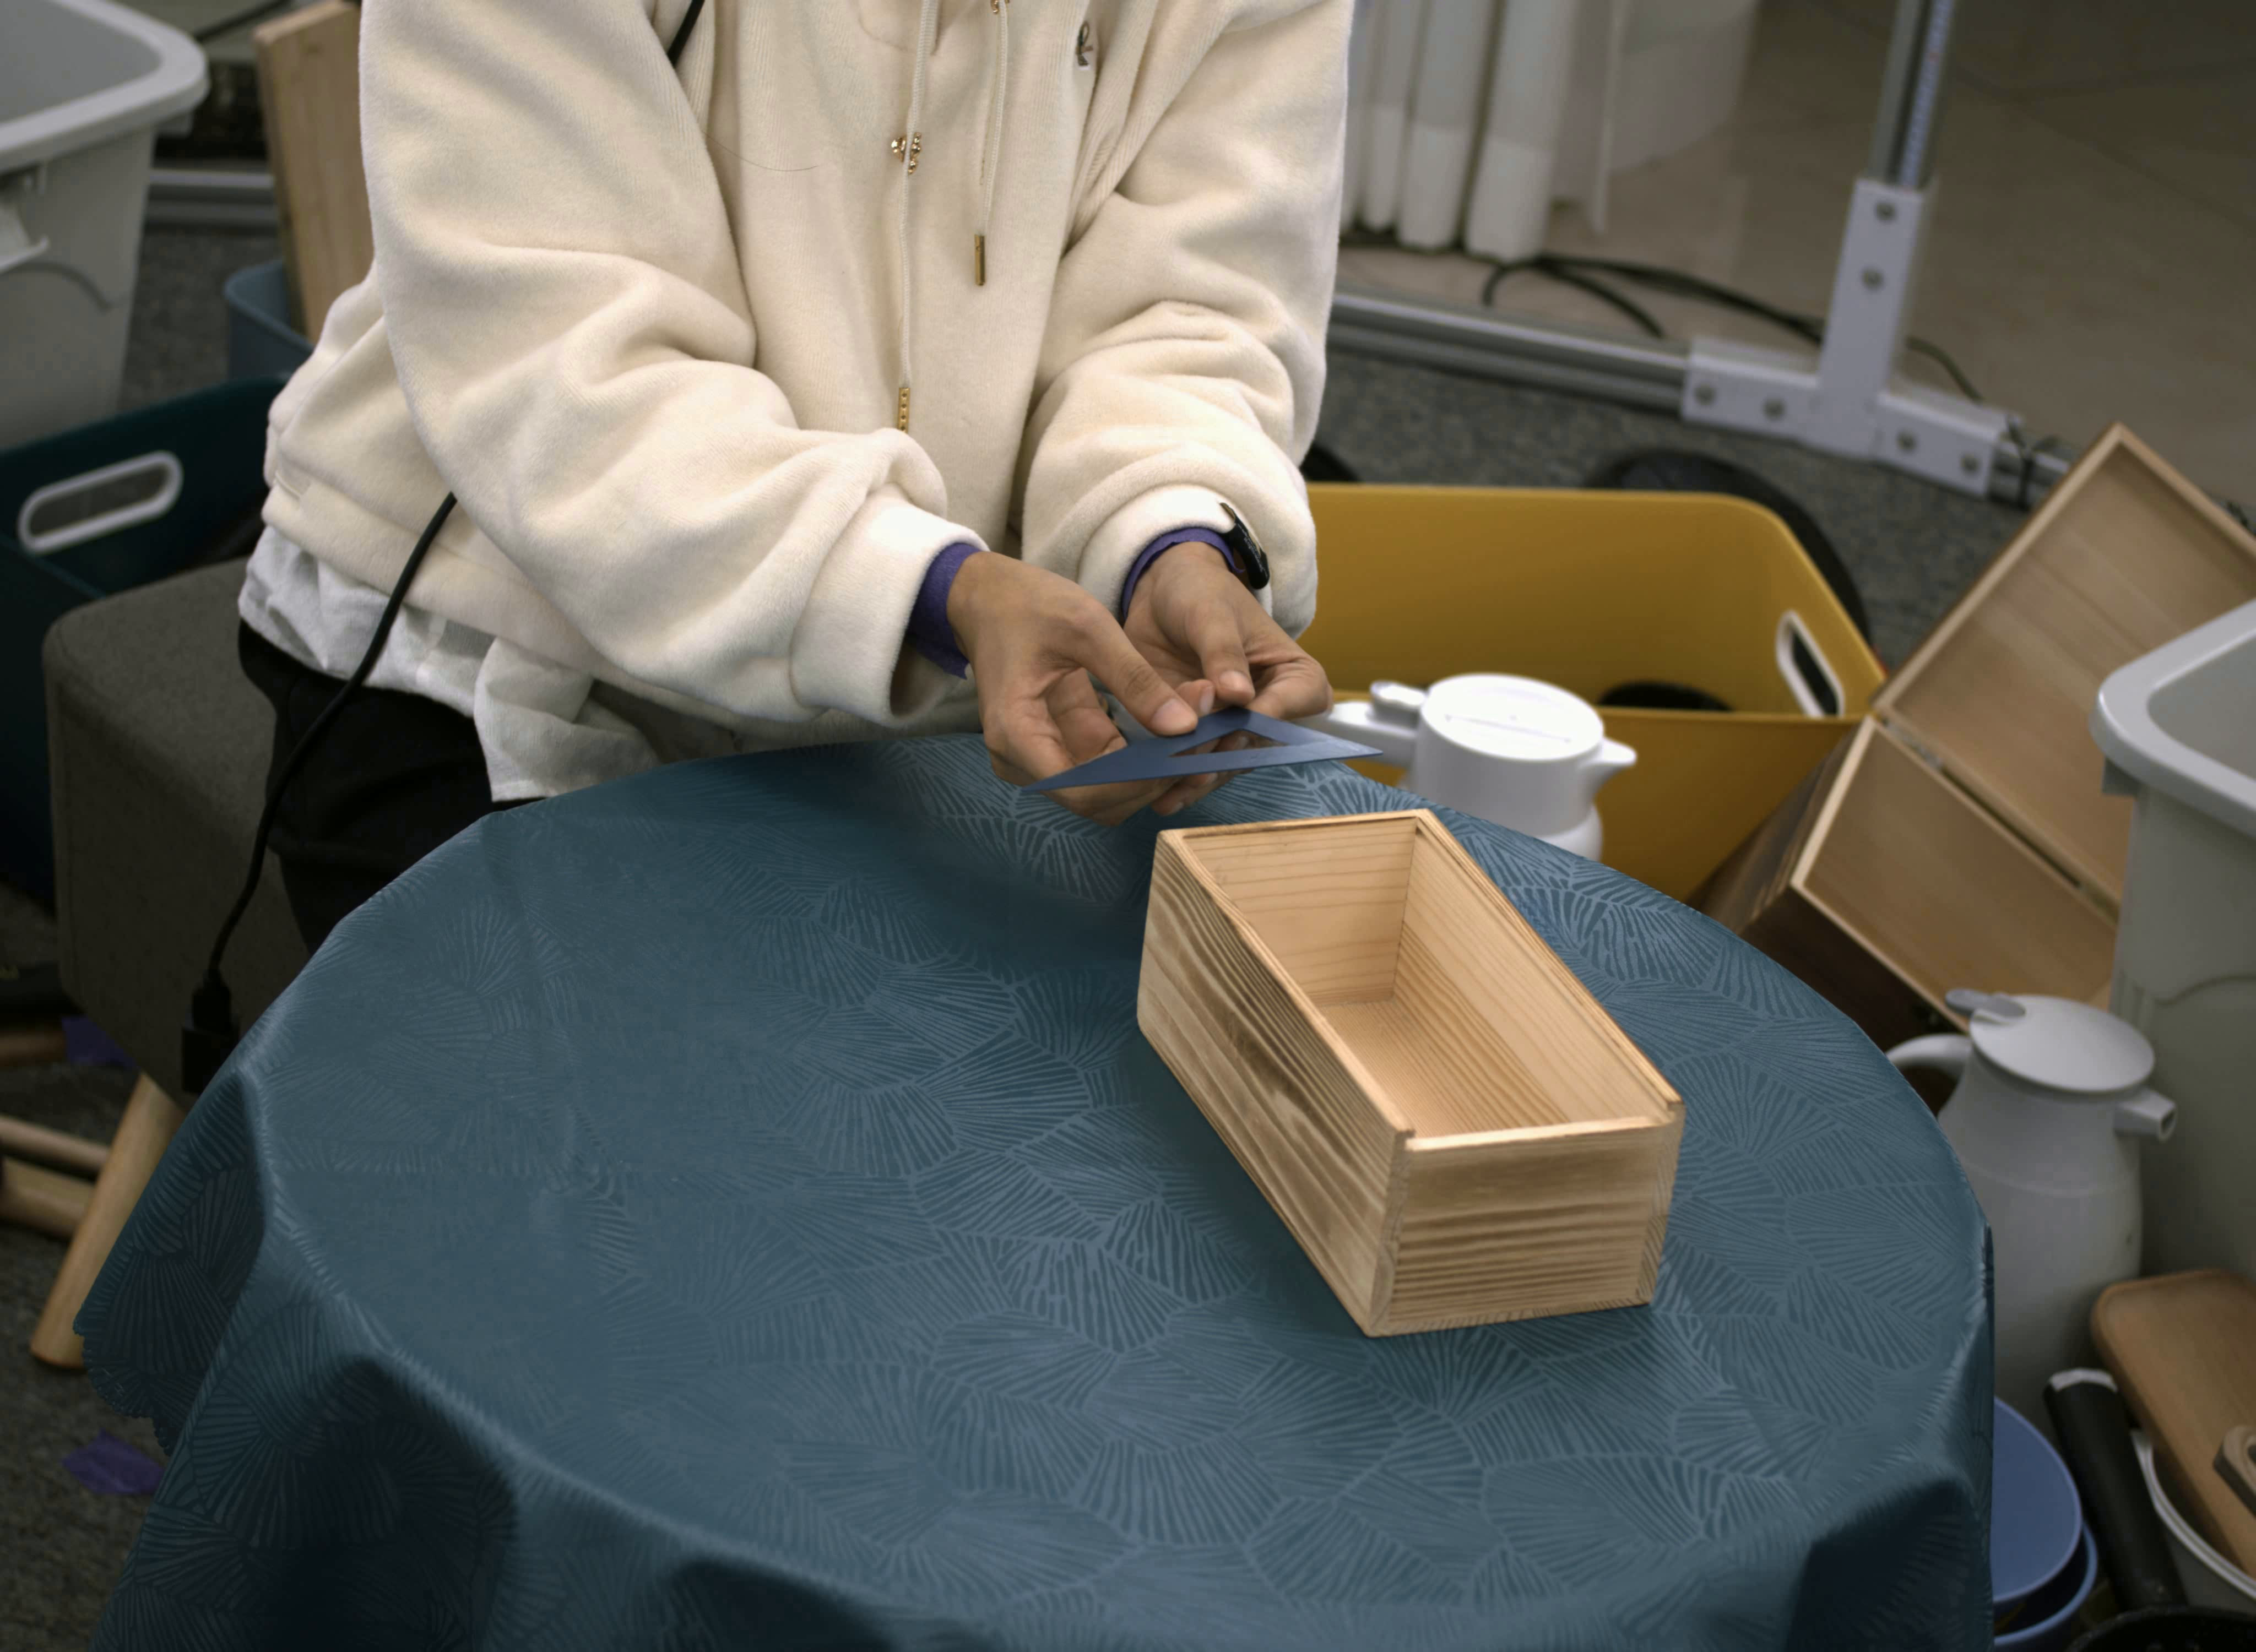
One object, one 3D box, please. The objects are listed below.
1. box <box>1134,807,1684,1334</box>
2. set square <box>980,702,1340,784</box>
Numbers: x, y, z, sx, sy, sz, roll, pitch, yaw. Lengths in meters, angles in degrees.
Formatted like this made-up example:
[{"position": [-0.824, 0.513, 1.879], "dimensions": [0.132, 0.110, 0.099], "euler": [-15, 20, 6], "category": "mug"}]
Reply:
[{"position": [0.092, 0.080, 1.821], "dimensions": [0.107, 0.080, 0.213], "euler": [-4, 29, -22], "category": "box"}, {"position": [0.006, -0.032, 1.929], "dimensions": [0.131, 0.006, 0.061], "euler": [-5, 24, -14], "category": "set square"}]
